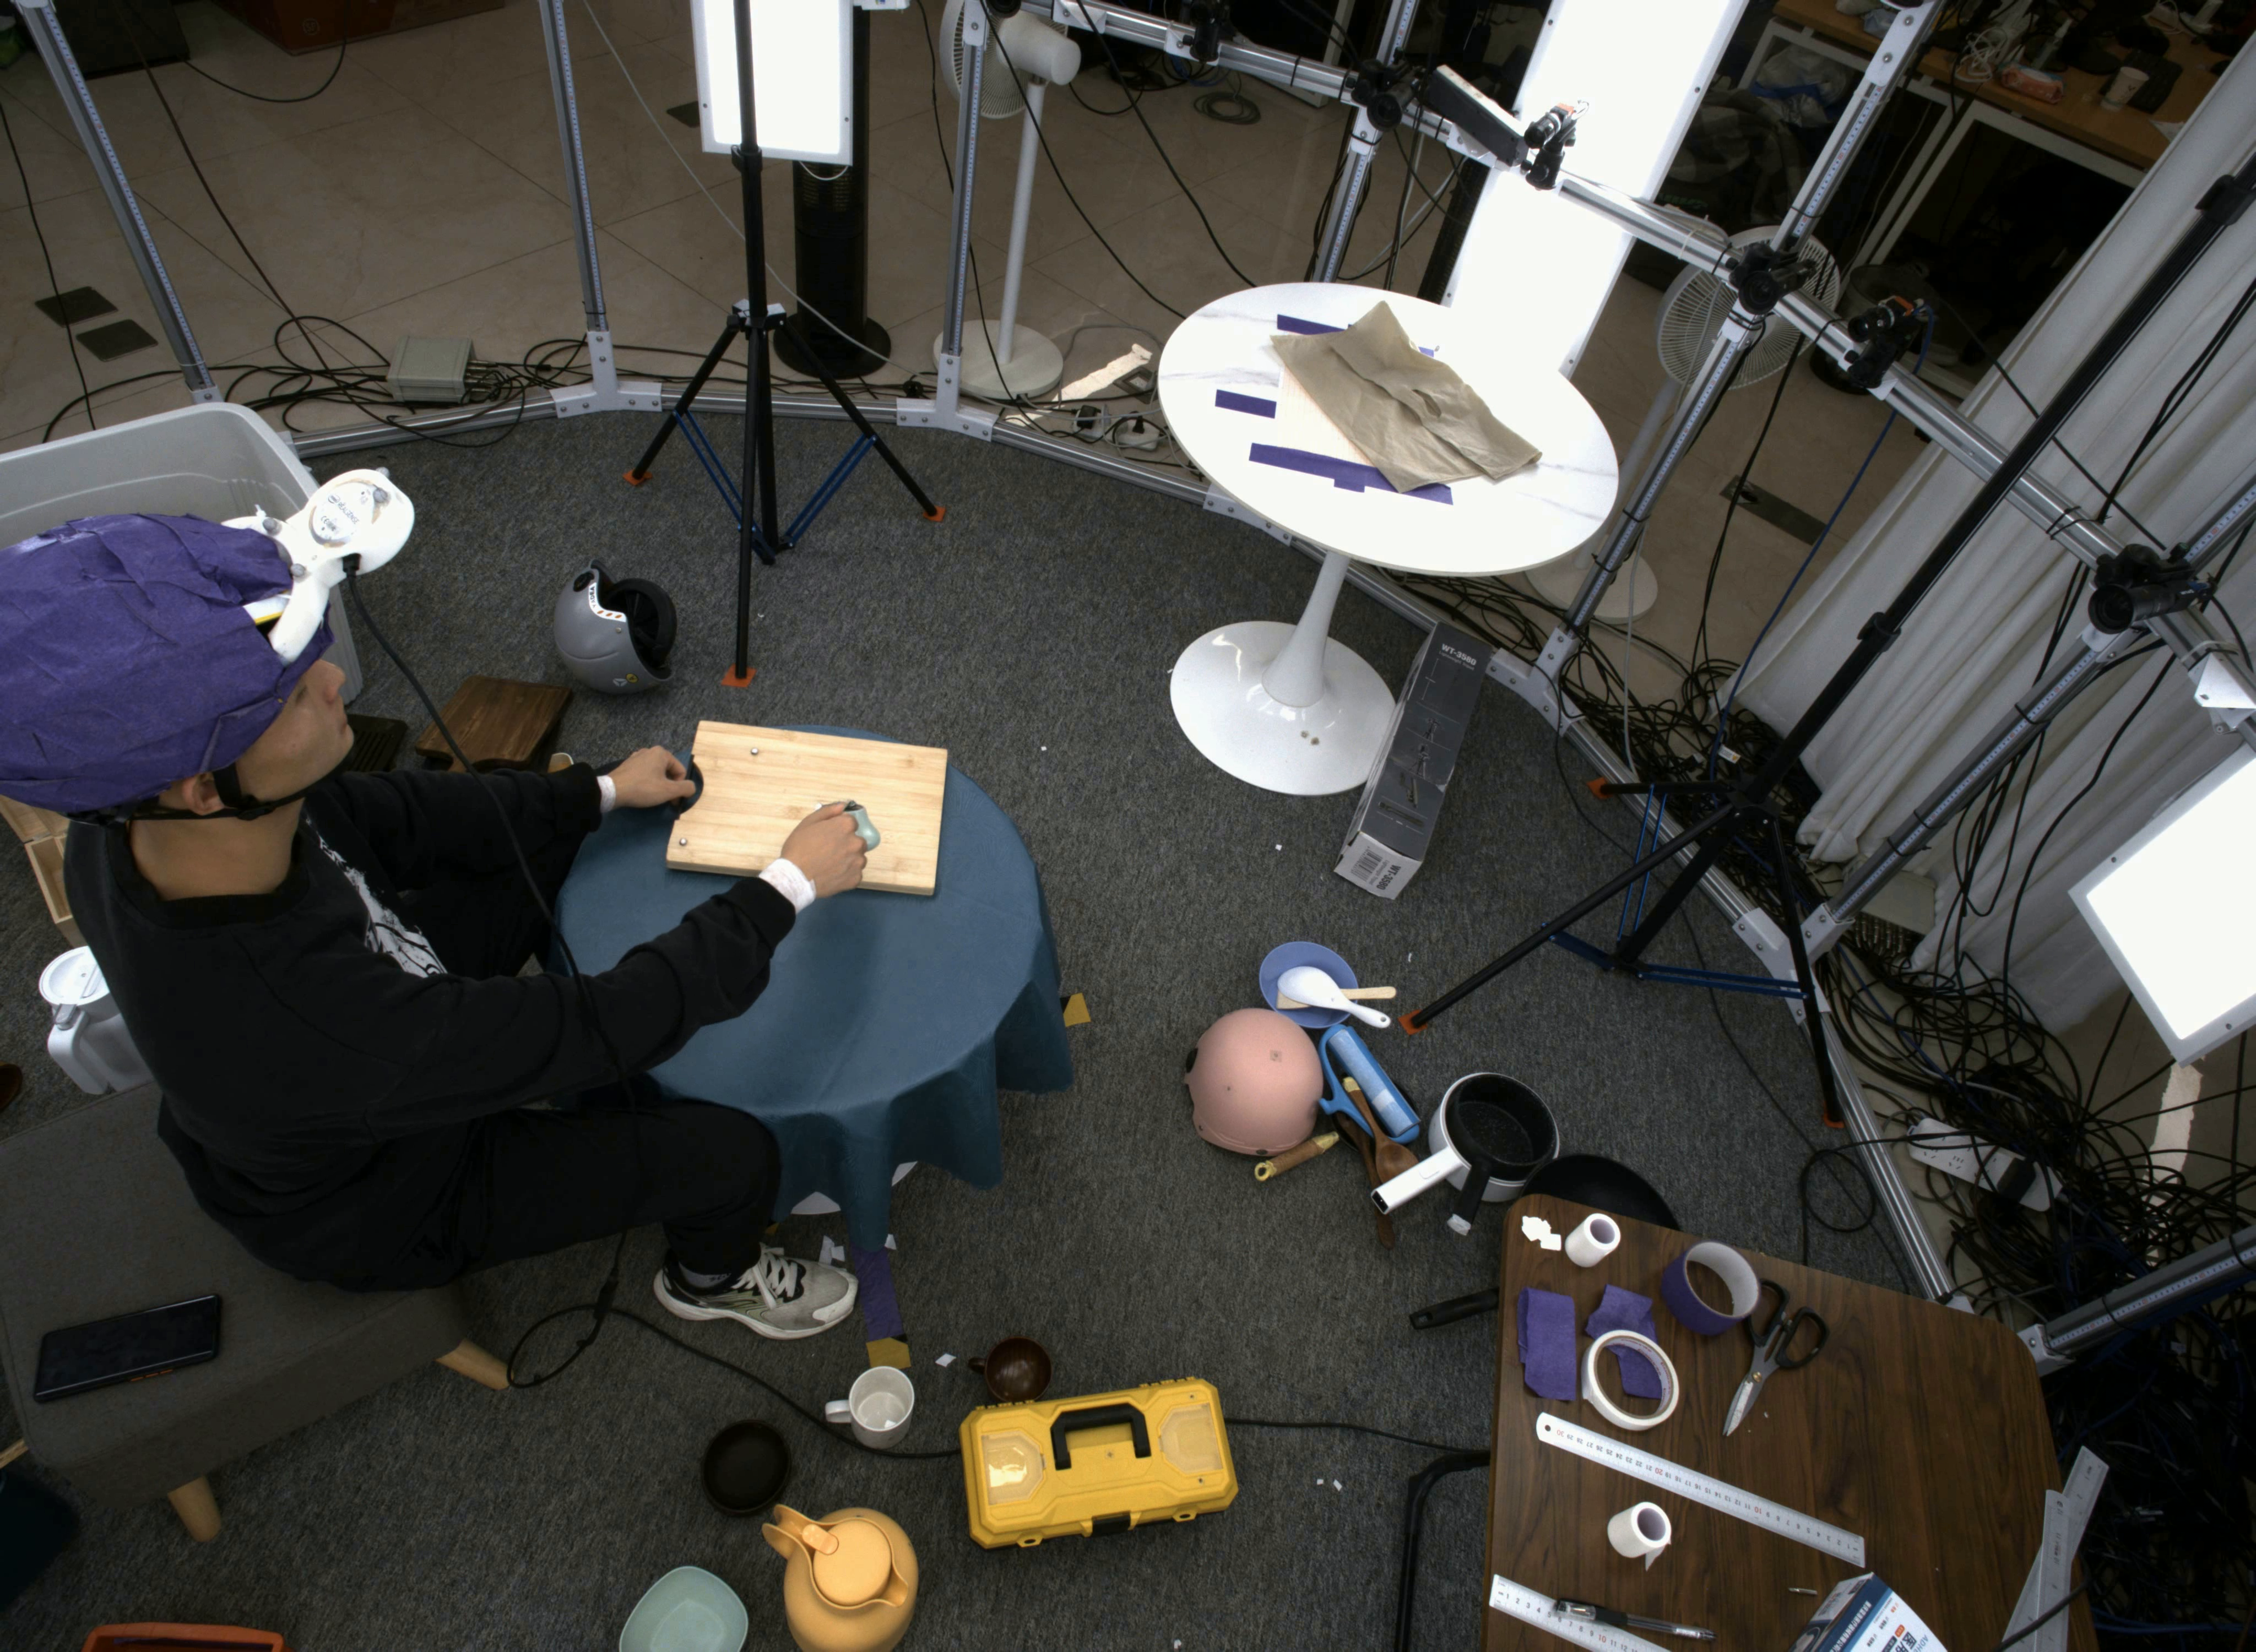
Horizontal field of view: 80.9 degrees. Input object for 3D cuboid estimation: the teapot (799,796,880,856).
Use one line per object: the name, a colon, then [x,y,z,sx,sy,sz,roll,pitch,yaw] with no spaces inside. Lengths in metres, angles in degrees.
teapot: [-0.348,0.001,1.565,0.096,0.063,0.133,-2,10,-17]

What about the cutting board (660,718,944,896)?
cutting board: [-0.425,-0.028,1.726,0.349,0.024,0.246,6,53,-13]
